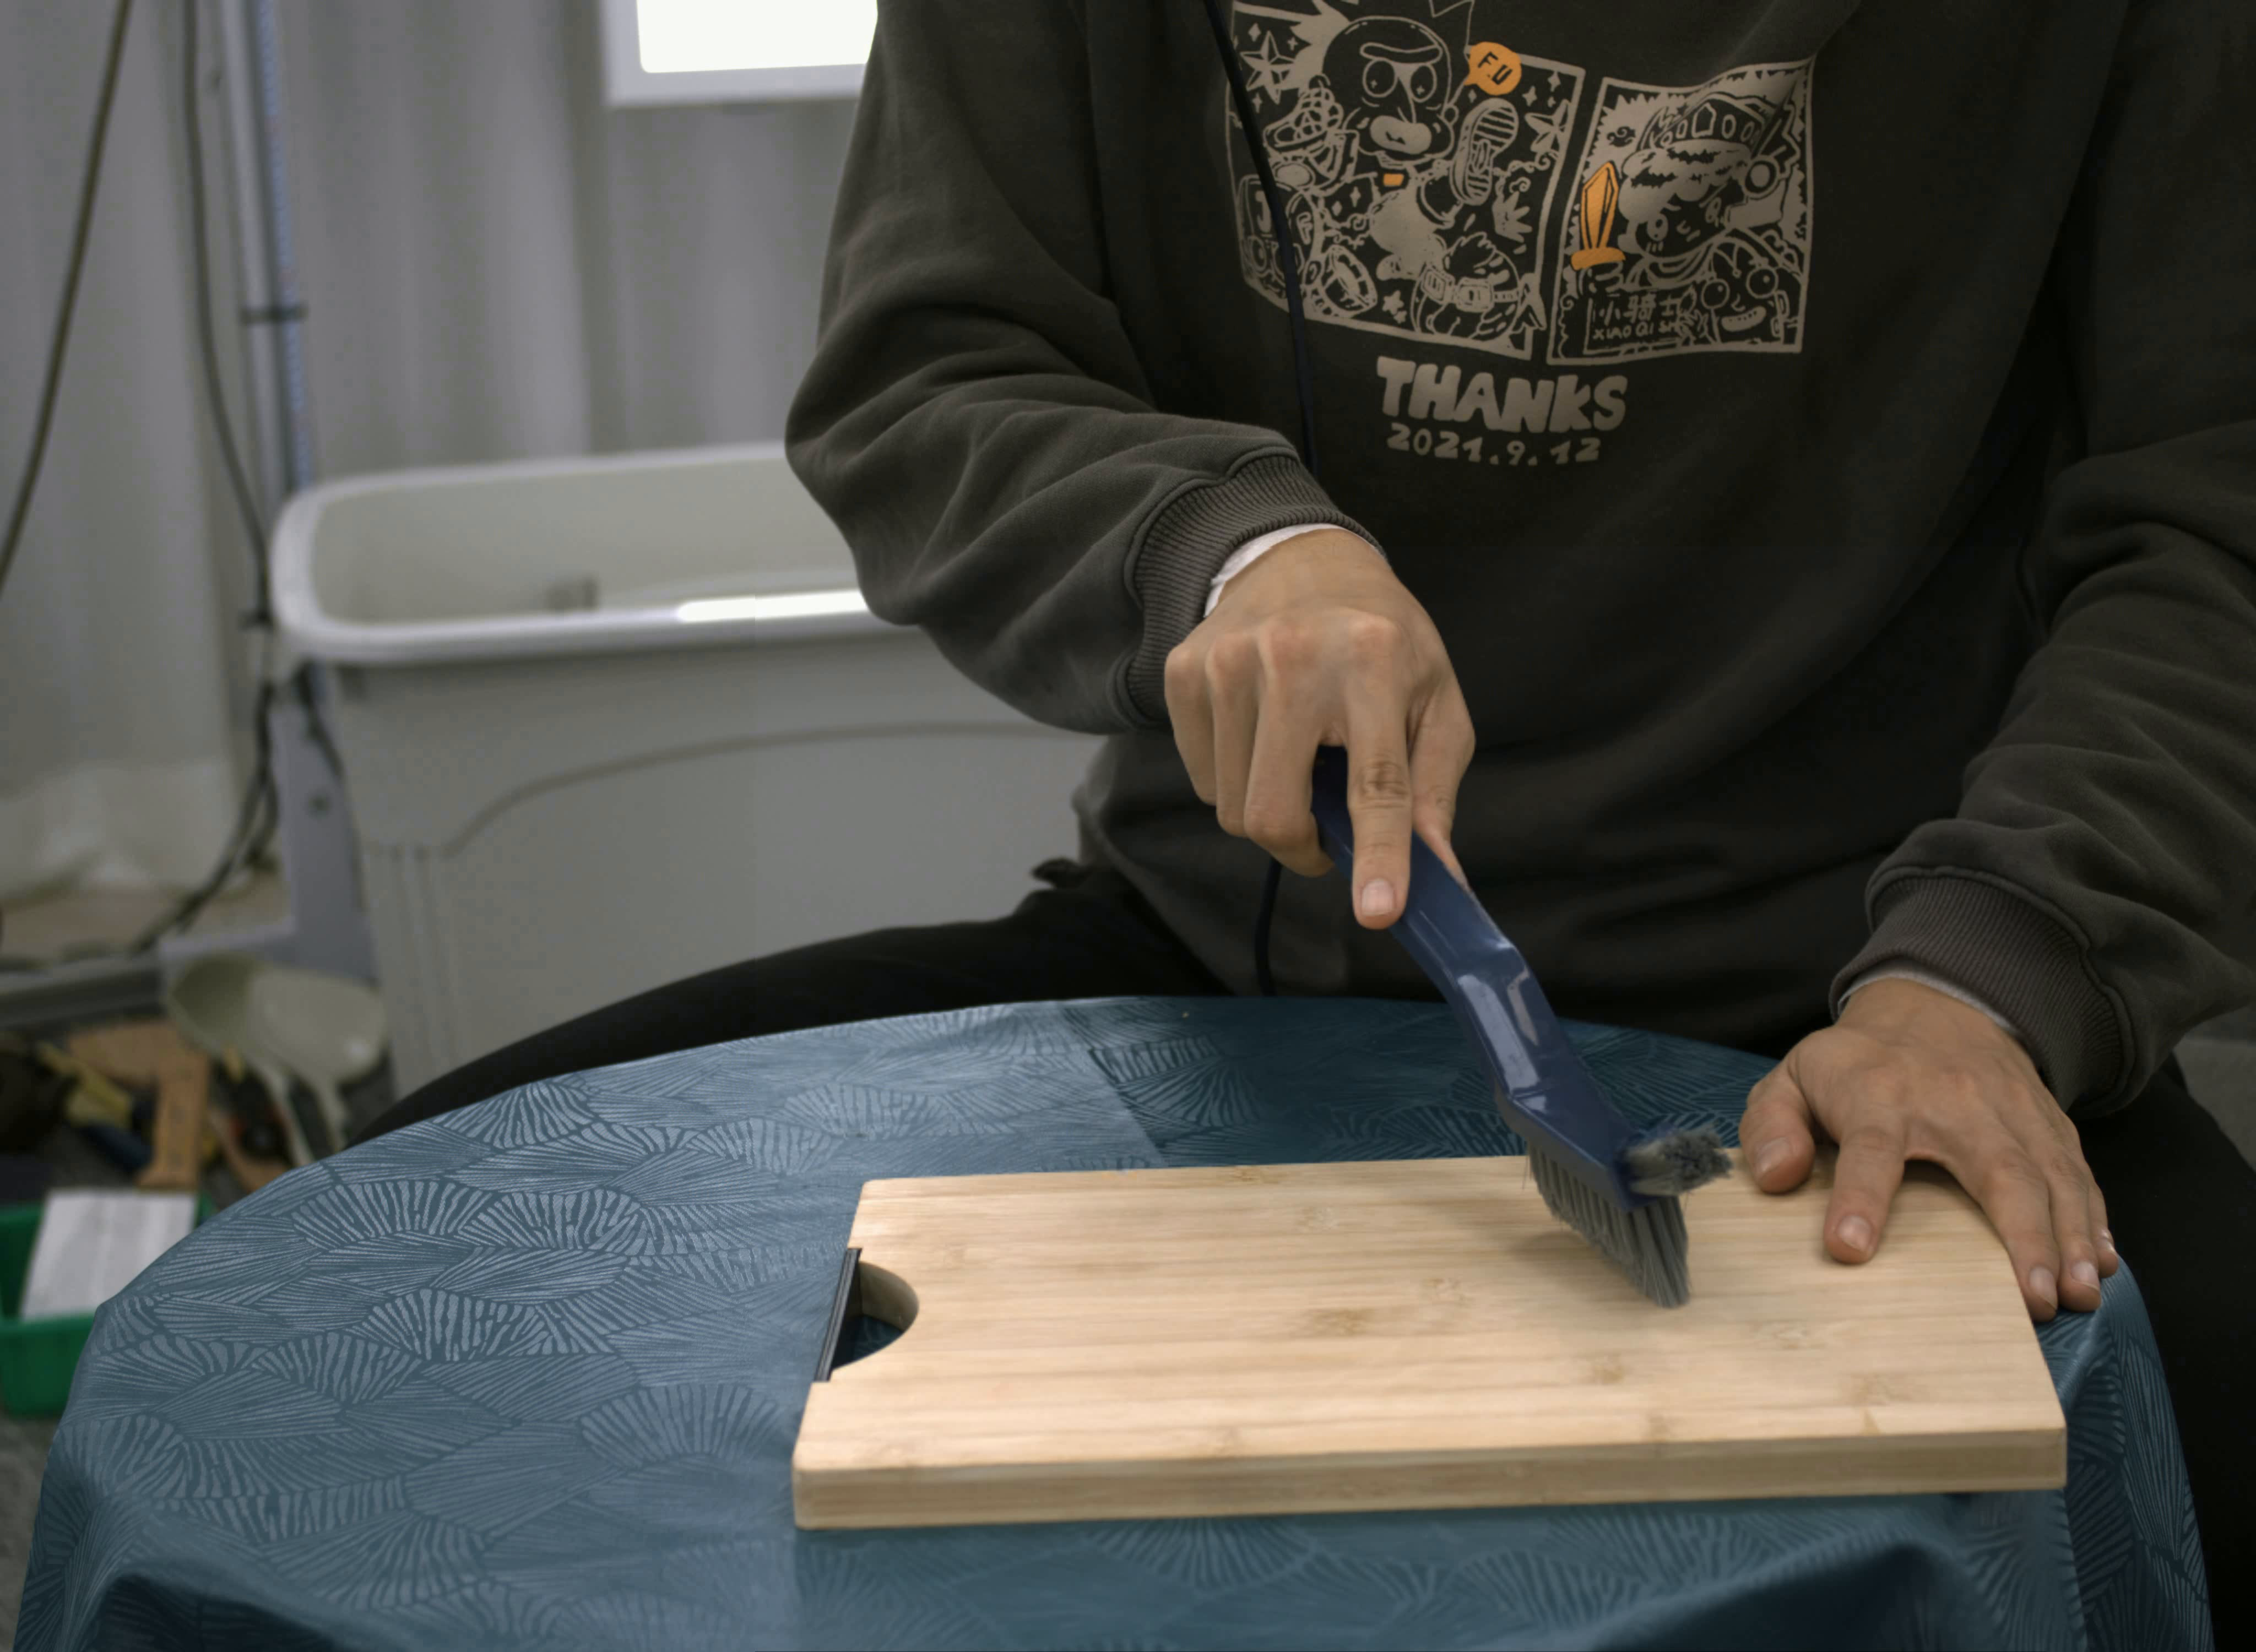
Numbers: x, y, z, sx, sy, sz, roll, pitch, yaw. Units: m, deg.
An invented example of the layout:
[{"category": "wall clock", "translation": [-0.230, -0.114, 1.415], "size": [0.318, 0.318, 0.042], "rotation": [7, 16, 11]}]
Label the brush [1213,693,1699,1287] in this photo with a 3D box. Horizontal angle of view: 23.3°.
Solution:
[{"category": "brush", "translation": [0.097, 0.031, 1.621], "size": [0.033, 0.094, 0.277], "rotation": [-20, 48, -15]}]

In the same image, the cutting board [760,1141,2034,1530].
[{"category": "cutting board", "translation": [0.077, 0.144, 1.568], "size": [0.347, 0.023, 0.252], "rotation": [-2, 14, 2]}]
